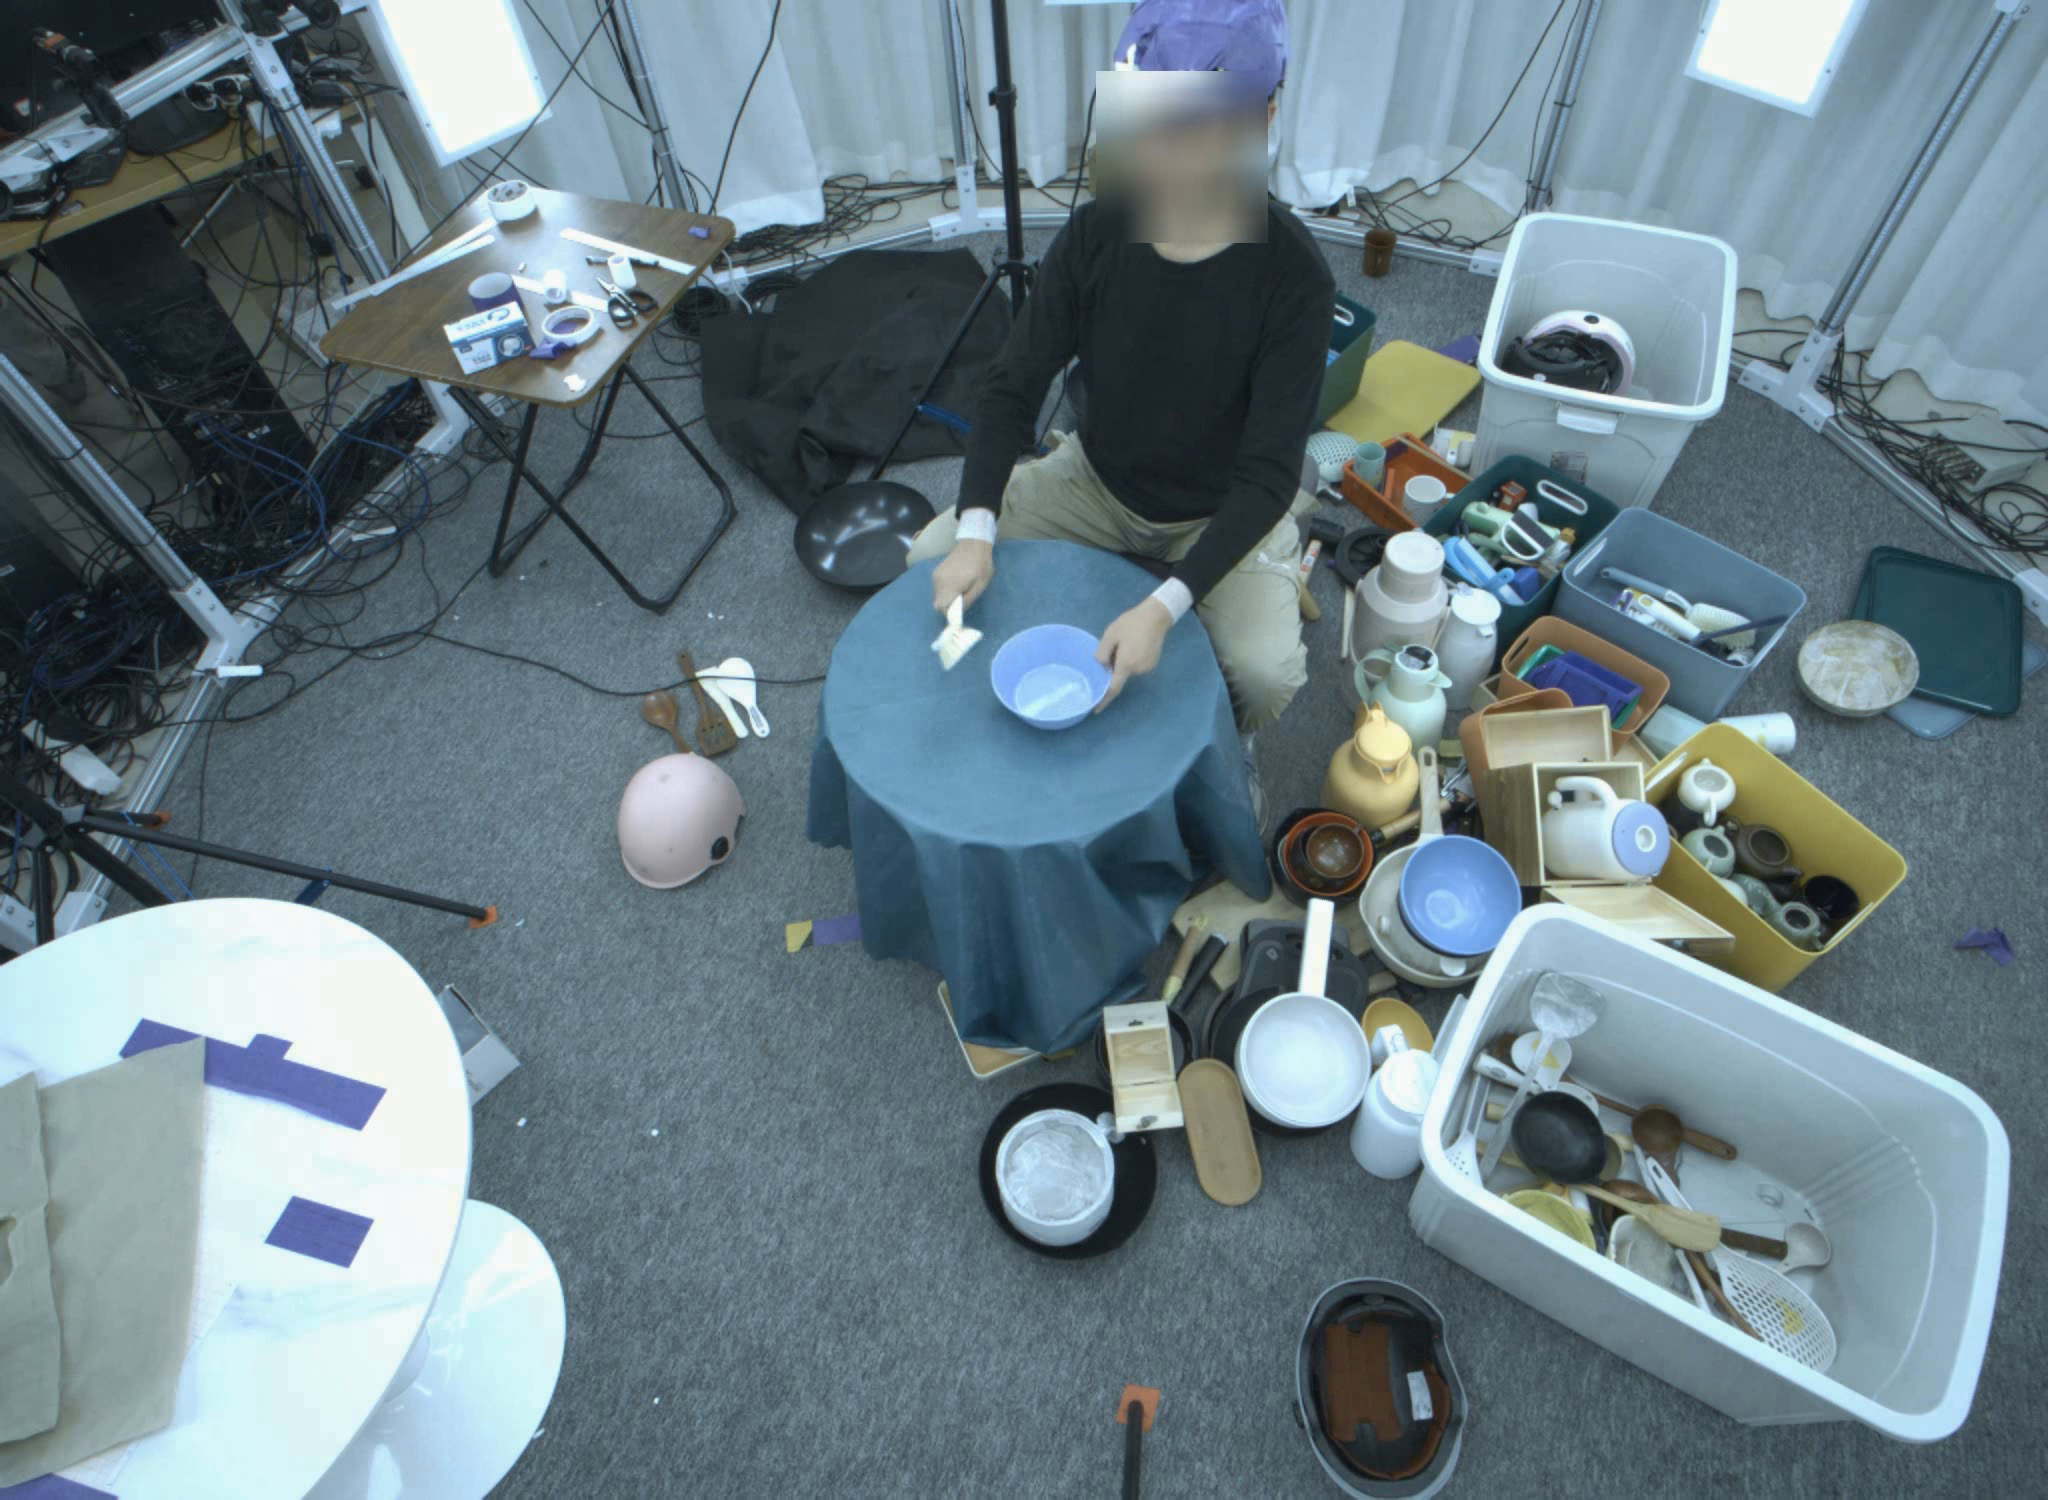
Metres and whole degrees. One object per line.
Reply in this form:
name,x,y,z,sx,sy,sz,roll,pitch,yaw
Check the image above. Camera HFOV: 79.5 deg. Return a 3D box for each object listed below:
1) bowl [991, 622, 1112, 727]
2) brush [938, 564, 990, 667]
bowl,0.041,-0.100,1.811,0.176,0.071,0.174,0,58,1
brush,-0.094,-0.207,1.844,0.068,0.057,0.263,-36,27,17
